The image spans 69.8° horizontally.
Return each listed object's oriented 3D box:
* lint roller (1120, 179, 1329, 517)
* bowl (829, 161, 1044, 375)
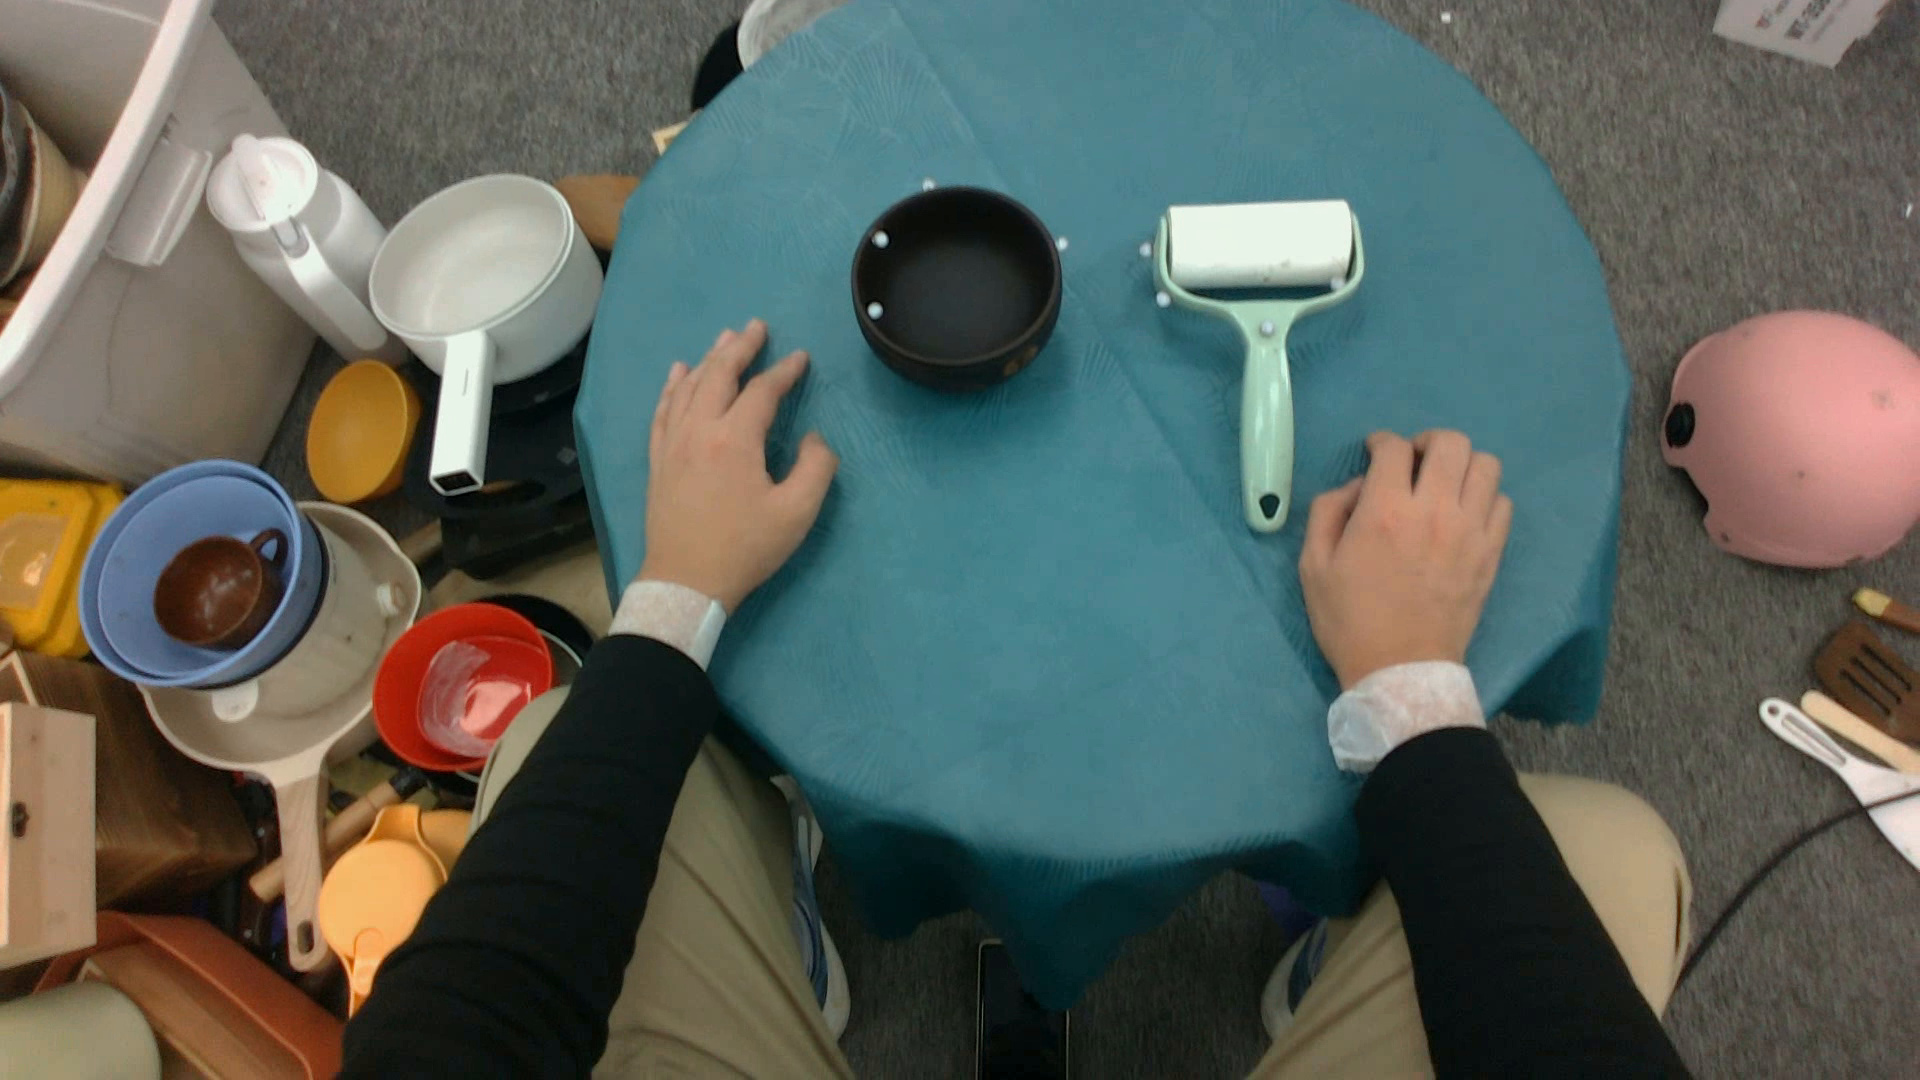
[{"bbox_3d":[0.151,-0.111,0.774,0.116,0.048,0.198,-1,73,0],"label":"lint roller"},{"bbox_3d":[-0.013,-0.146,0.776,0.118,0.069,0.118,0,72,1],"label":"bowl"}]
